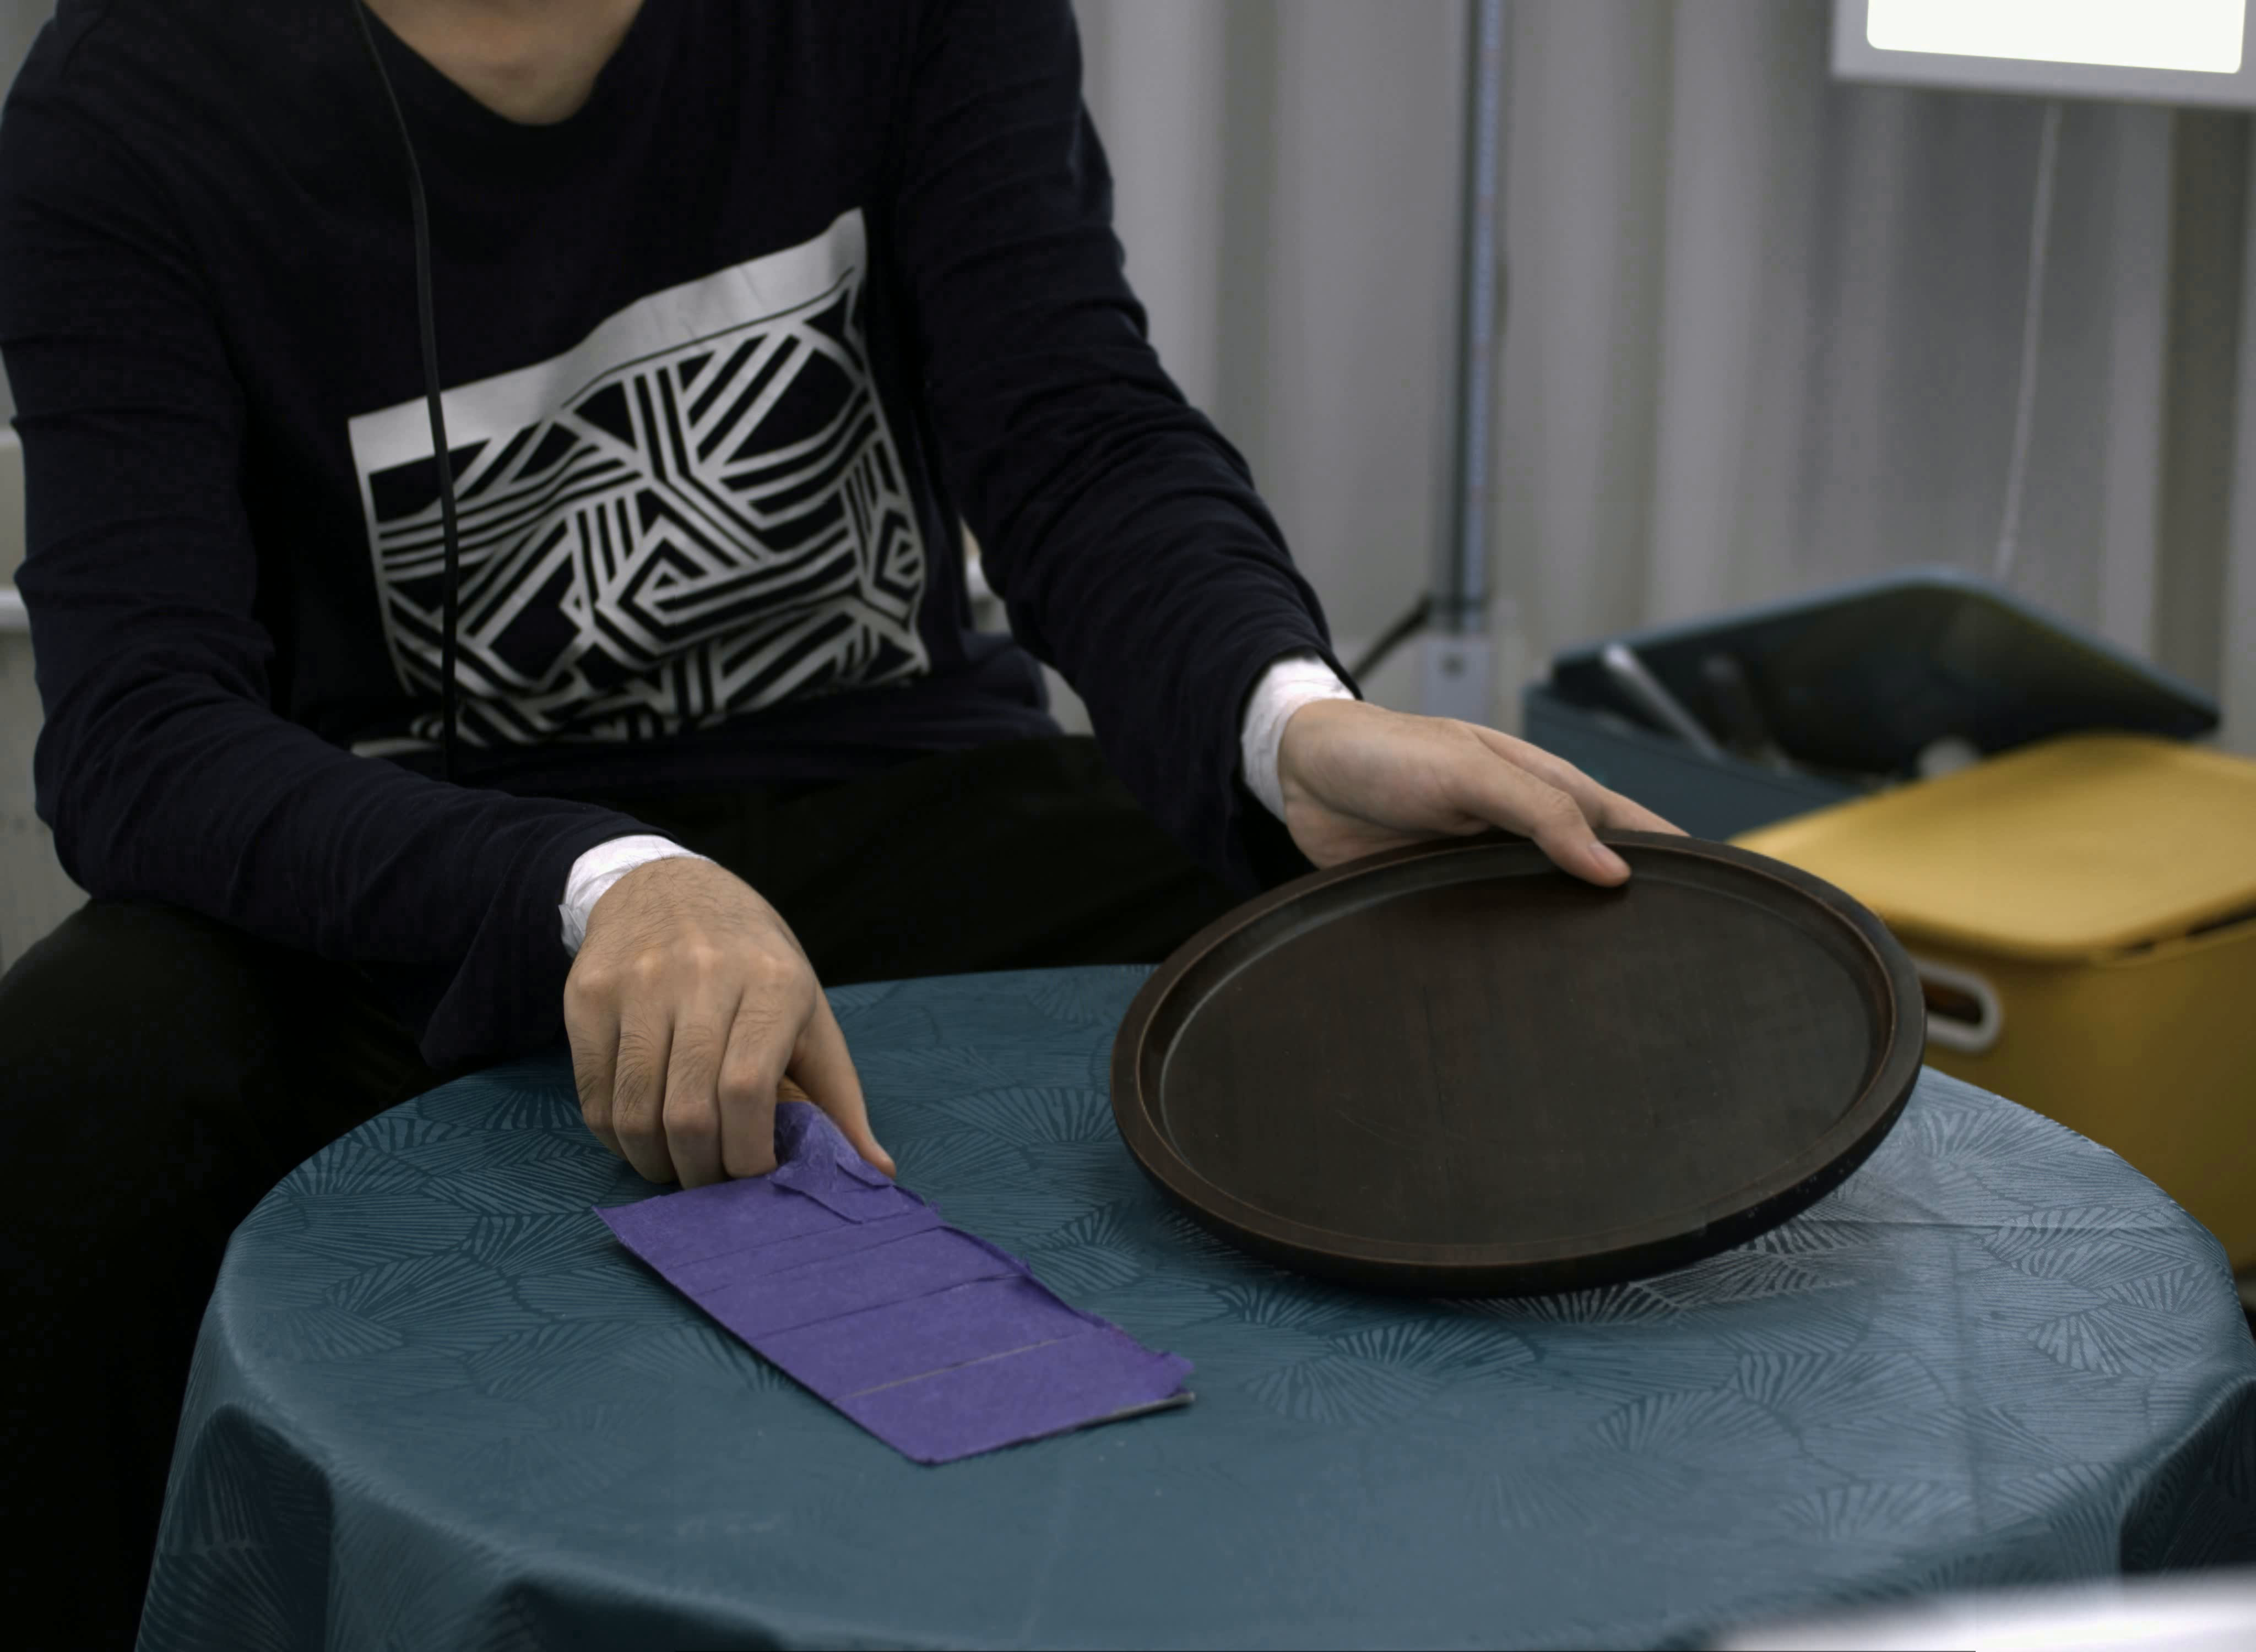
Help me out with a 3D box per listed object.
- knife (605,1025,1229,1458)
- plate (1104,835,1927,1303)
[{"bbox_3d":[-0.095,0.118,1.550,0.104,0.032,0.311,-9,18,-30],"label":"knife"},{"bbox_3d":[0.119,0.072,1.621,0.254,0.029,0.252,-4,31,3],"label":"plate"}]
